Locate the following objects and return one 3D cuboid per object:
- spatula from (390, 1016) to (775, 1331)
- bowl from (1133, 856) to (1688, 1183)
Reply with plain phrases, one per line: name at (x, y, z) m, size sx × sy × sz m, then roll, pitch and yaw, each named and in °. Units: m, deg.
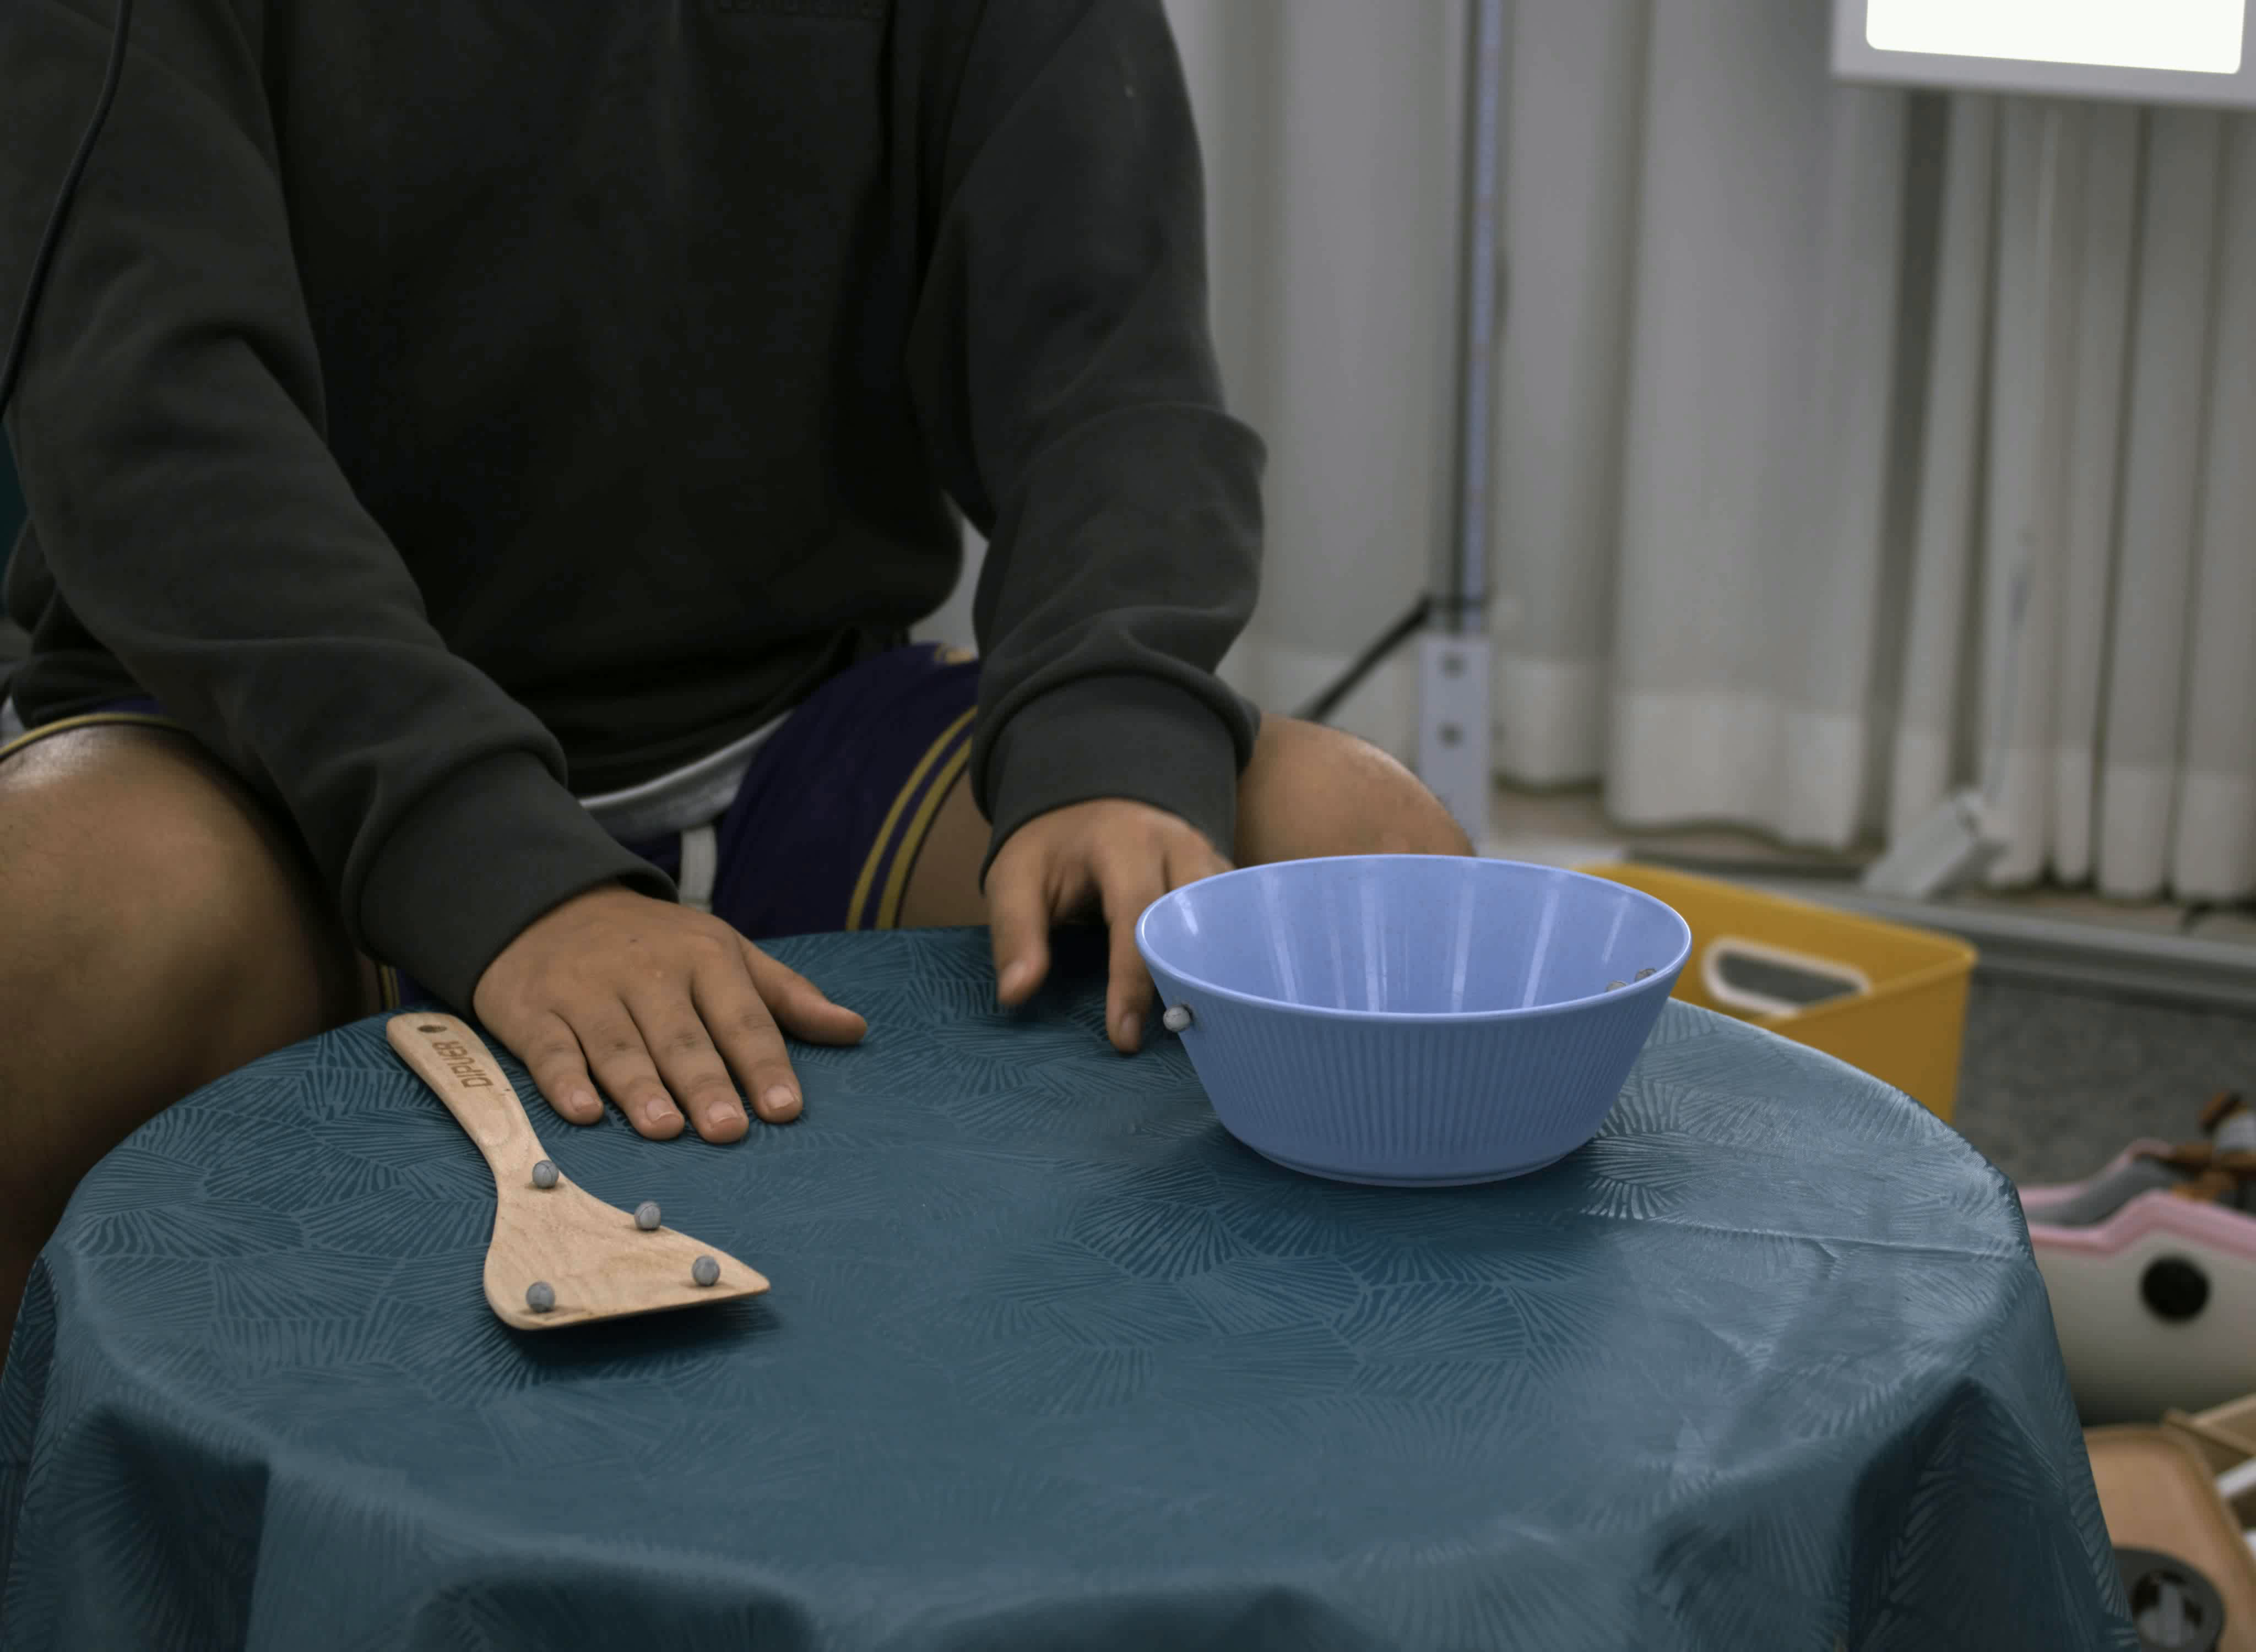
spatula at (-0.184, 0.102, 1.622) m, size 0.080 × 0.016 × 0.324 m, roll -5°, pitch 16°, yaw -18°
bowl at (0.089, 0.063, 1.670) m, size 0.175 × 0.071 × 0.175 m, roll 1°, pitch 16°, yaw 0°
